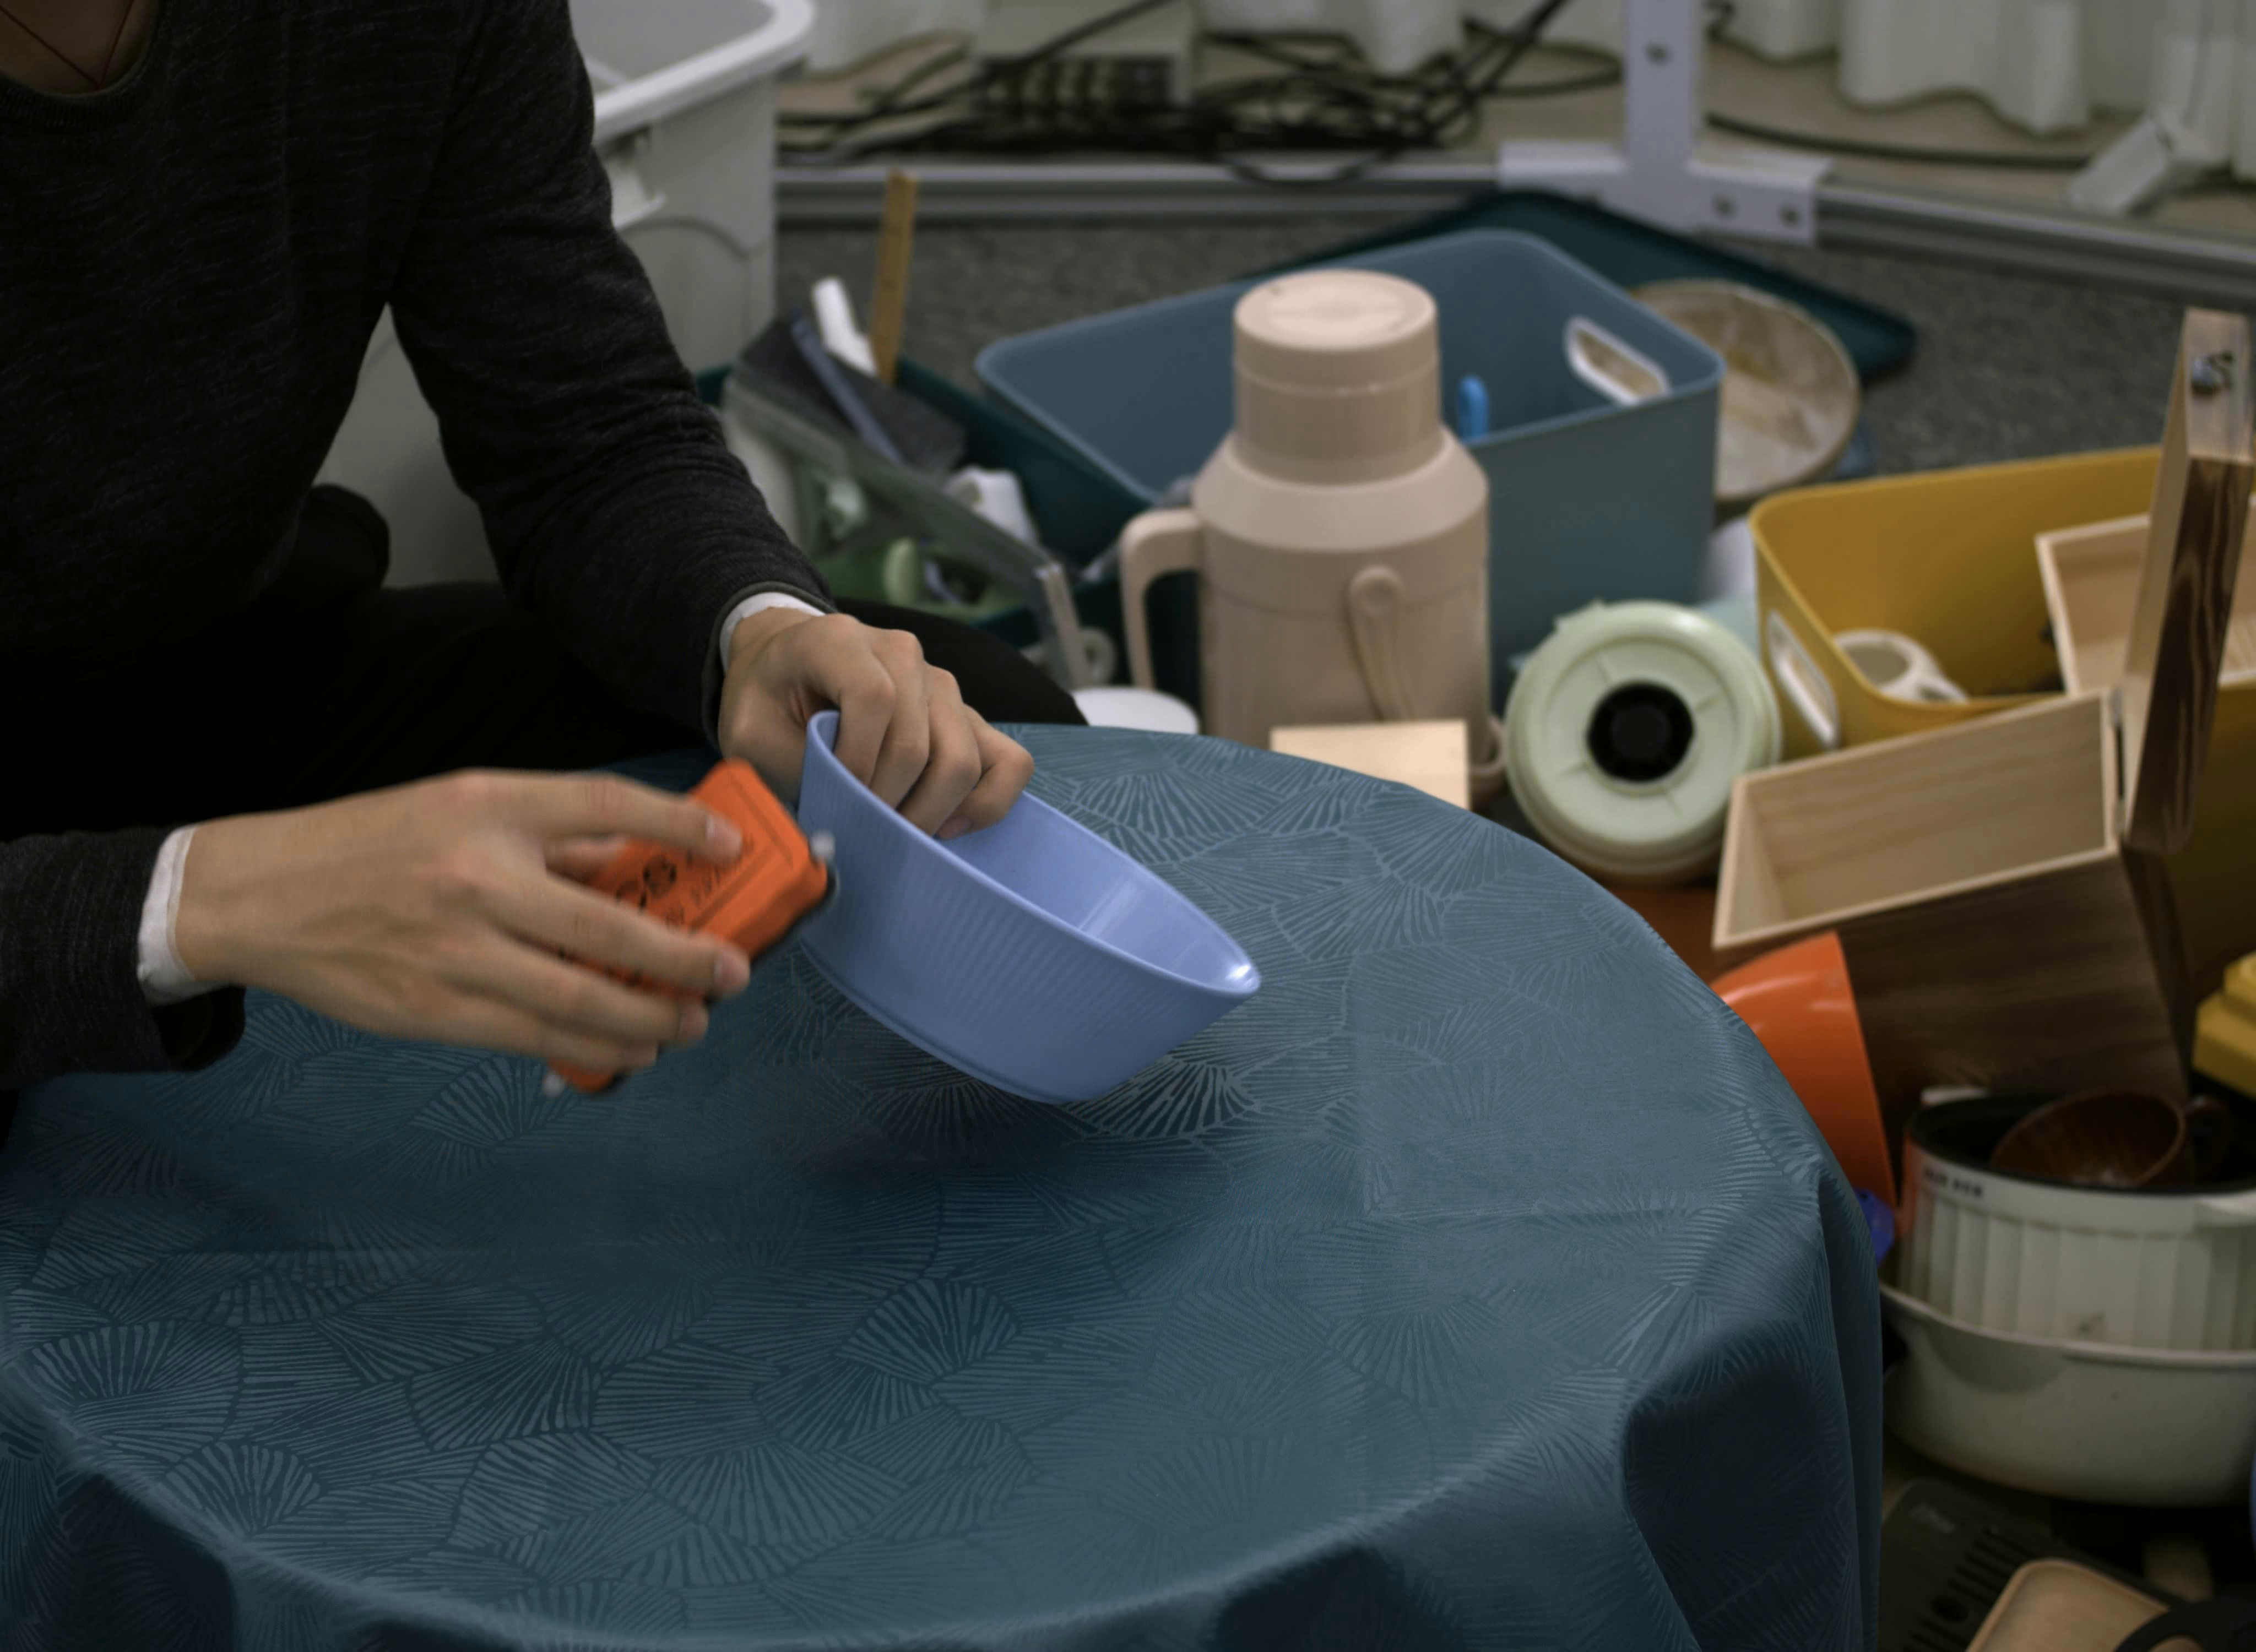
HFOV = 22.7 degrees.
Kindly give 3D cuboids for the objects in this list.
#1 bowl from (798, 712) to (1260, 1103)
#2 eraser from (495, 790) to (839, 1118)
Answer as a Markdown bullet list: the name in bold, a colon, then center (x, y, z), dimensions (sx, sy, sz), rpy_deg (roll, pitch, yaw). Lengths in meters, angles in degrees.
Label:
- **bowl**: center (-0.046, 0.036, 1.889), dimensions (0.175, 0.070, 0.177), rpy_deg (29, 9, -4)
- **eraser**: center (-0.147, 0.041, 1.786), dimensions (0.108, 0.022, 0.059), rpy_deg (-39, 50, 1)
